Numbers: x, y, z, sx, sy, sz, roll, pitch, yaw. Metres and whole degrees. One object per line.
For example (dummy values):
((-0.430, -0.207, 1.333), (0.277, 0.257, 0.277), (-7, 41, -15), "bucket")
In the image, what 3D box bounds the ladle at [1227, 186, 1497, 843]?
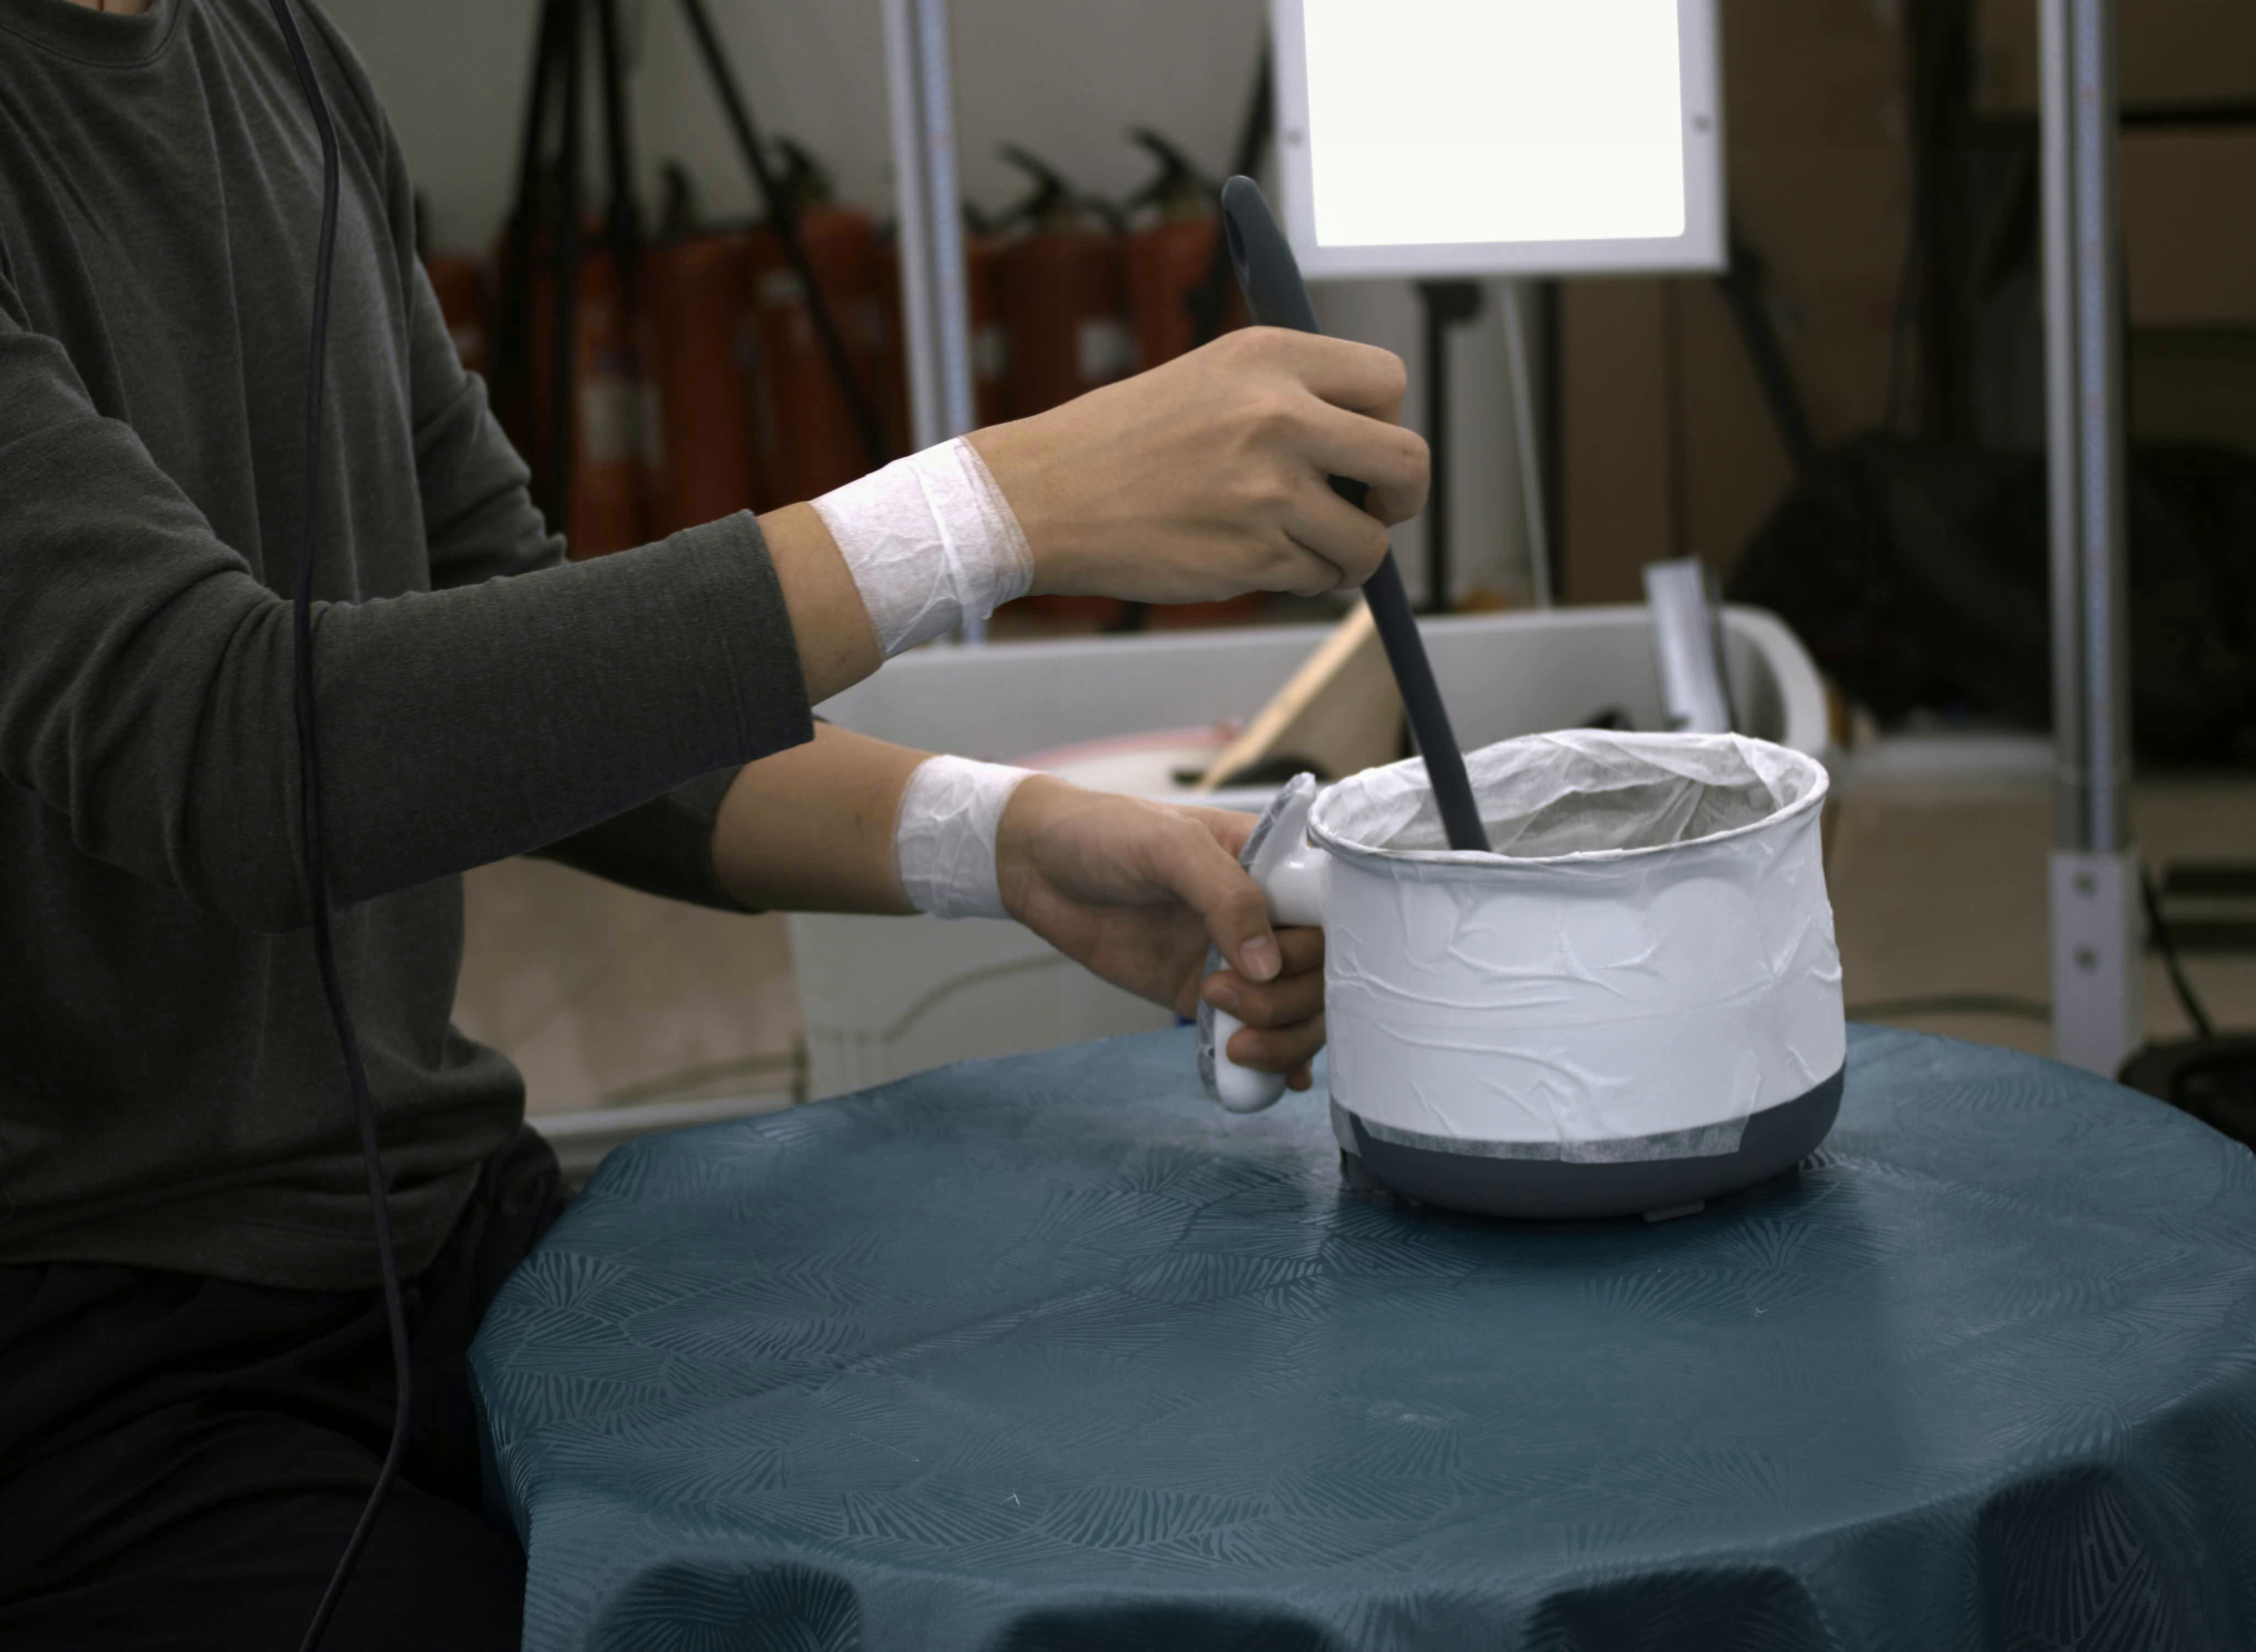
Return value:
((0.108, -0.077, 1.788), (0.063, 0.313, 0.087), (-30, 23, -18), "ladle")

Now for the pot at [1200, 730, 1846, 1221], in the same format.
((0.130, 0.049, 1.881), (0.238, 0.137, 0.175), (1, 15, 28), "pot")
